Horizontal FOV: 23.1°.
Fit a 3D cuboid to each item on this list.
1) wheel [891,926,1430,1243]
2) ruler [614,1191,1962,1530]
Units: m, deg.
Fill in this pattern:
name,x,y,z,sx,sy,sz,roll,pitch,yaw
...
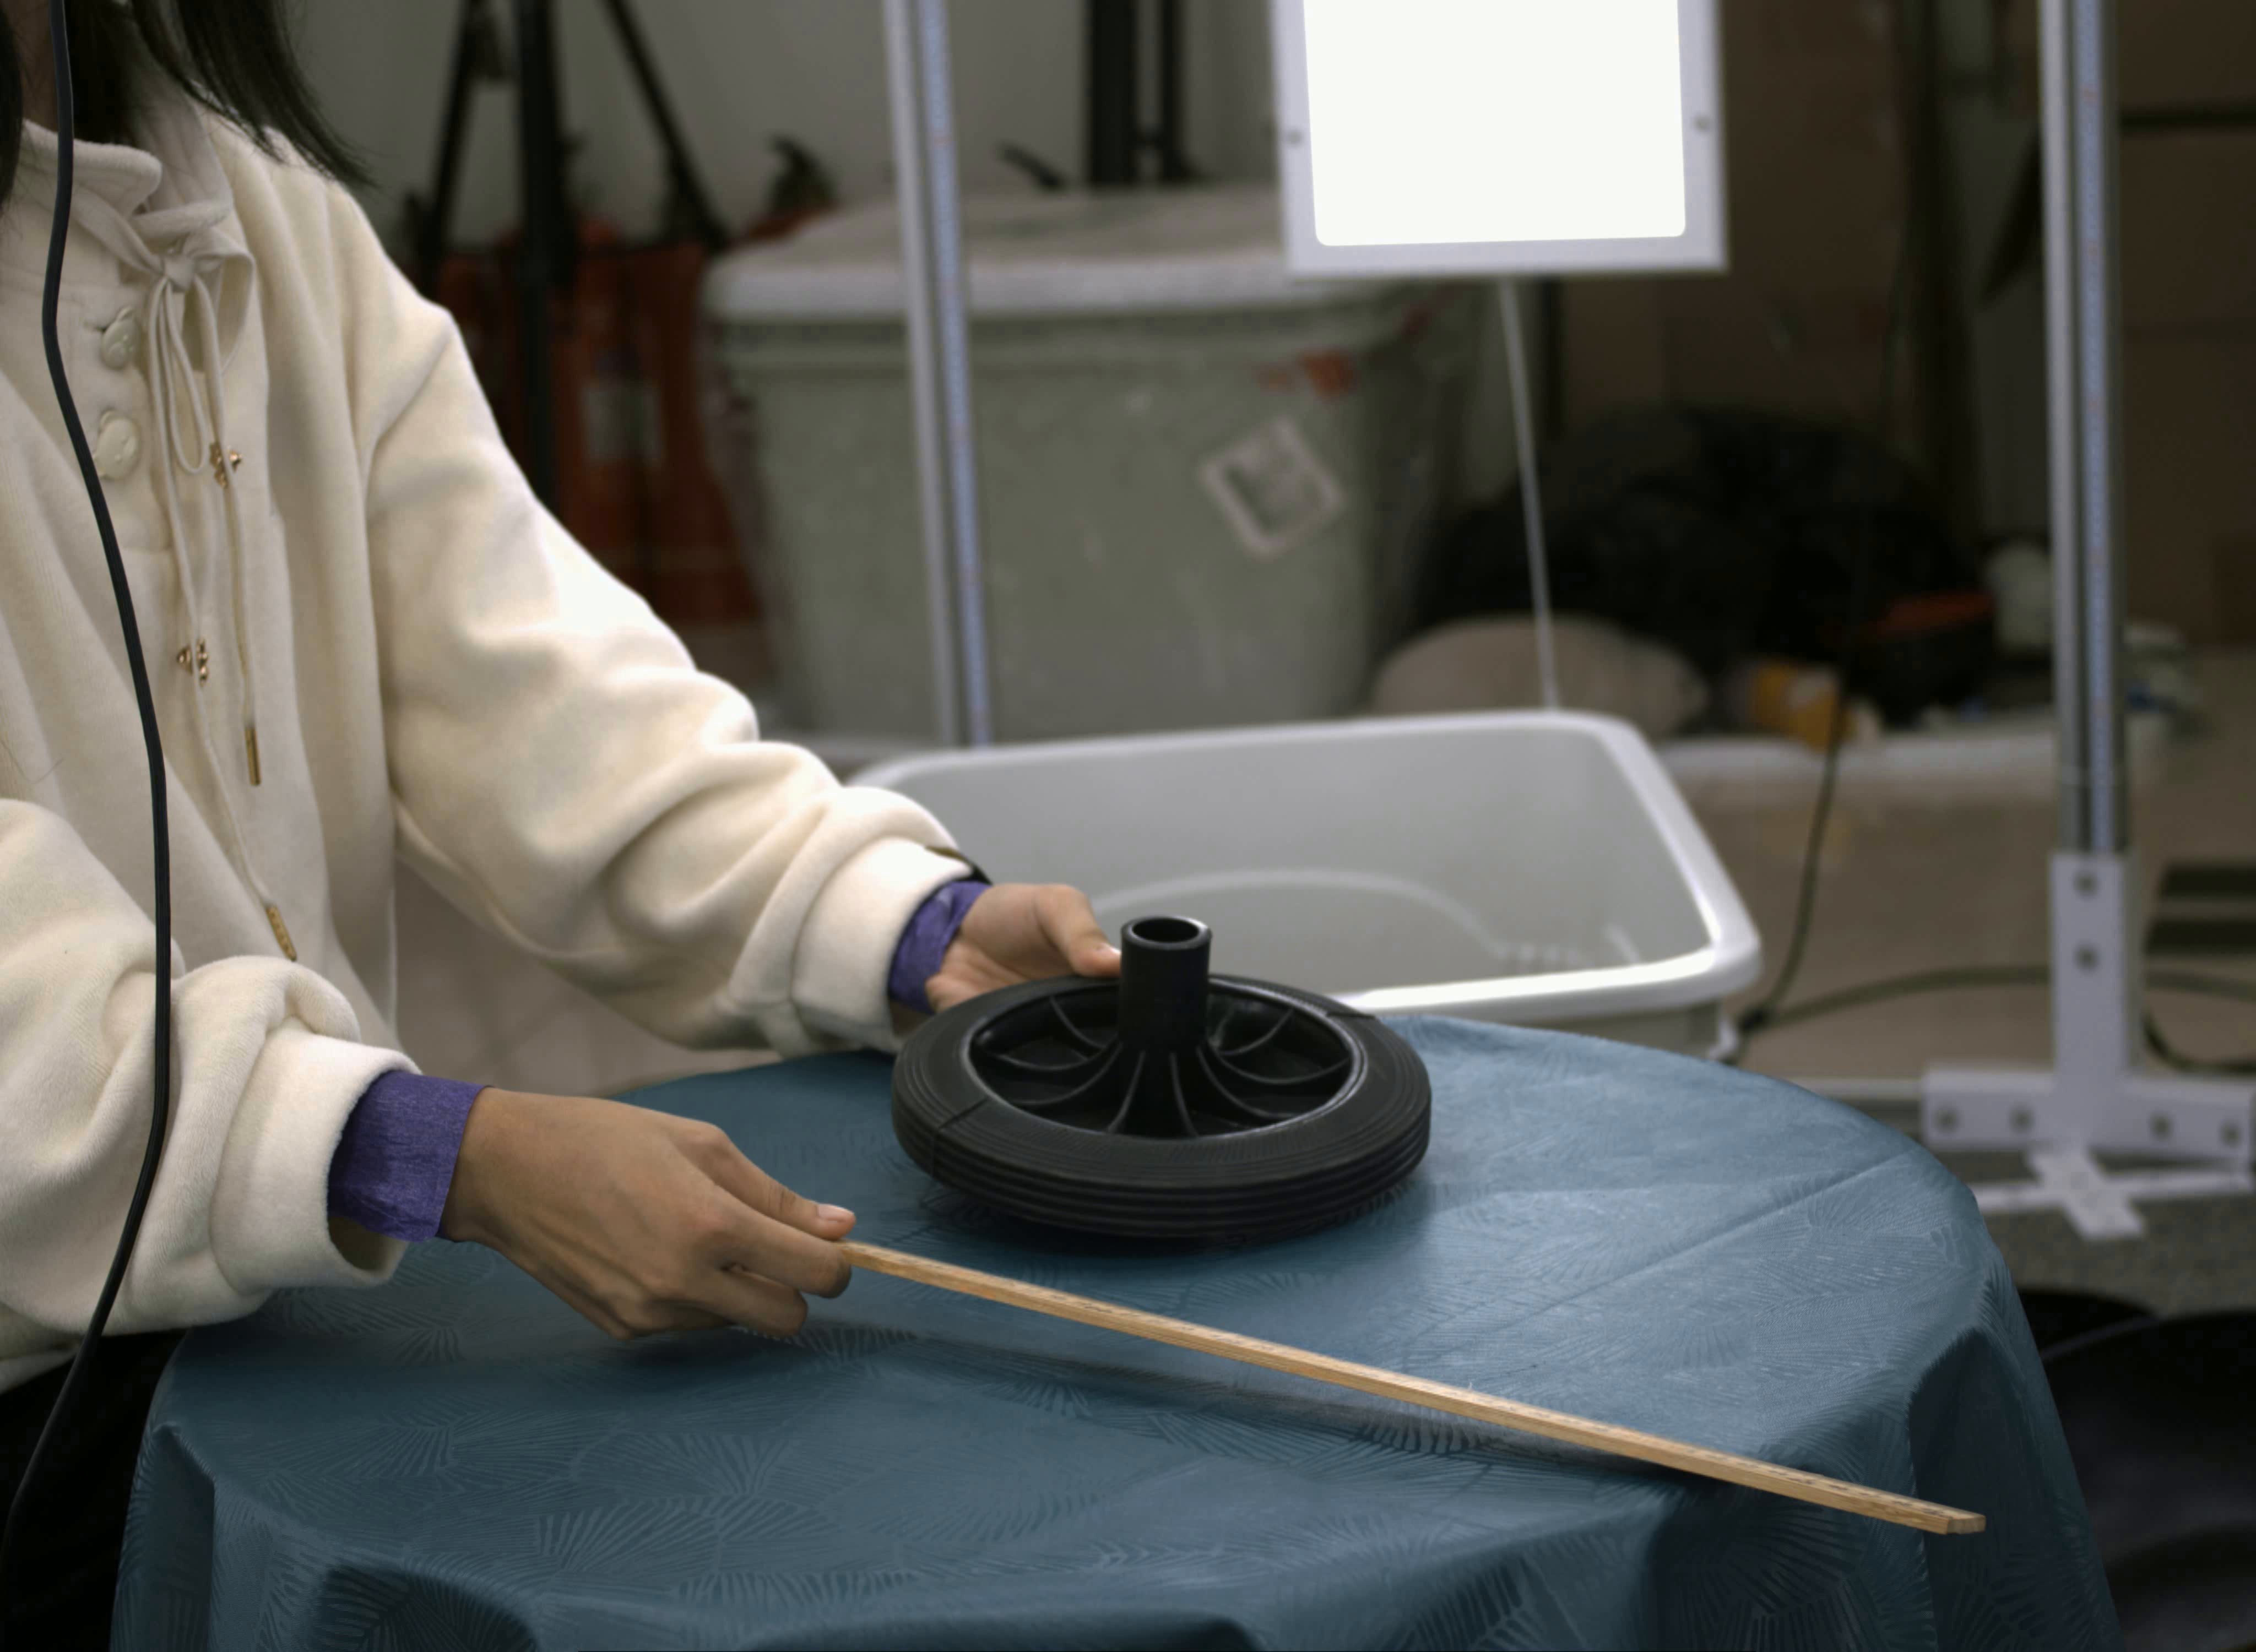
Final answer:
name,x,y,z,sx,sy,sz,roll,pitch,yaw
wheel,0.012,0.076,1.898,0.187,0.079,0.189,1,21,3
ruler,0.034,0.159,1.684,0.511,0.006,0.026,10,4,38
